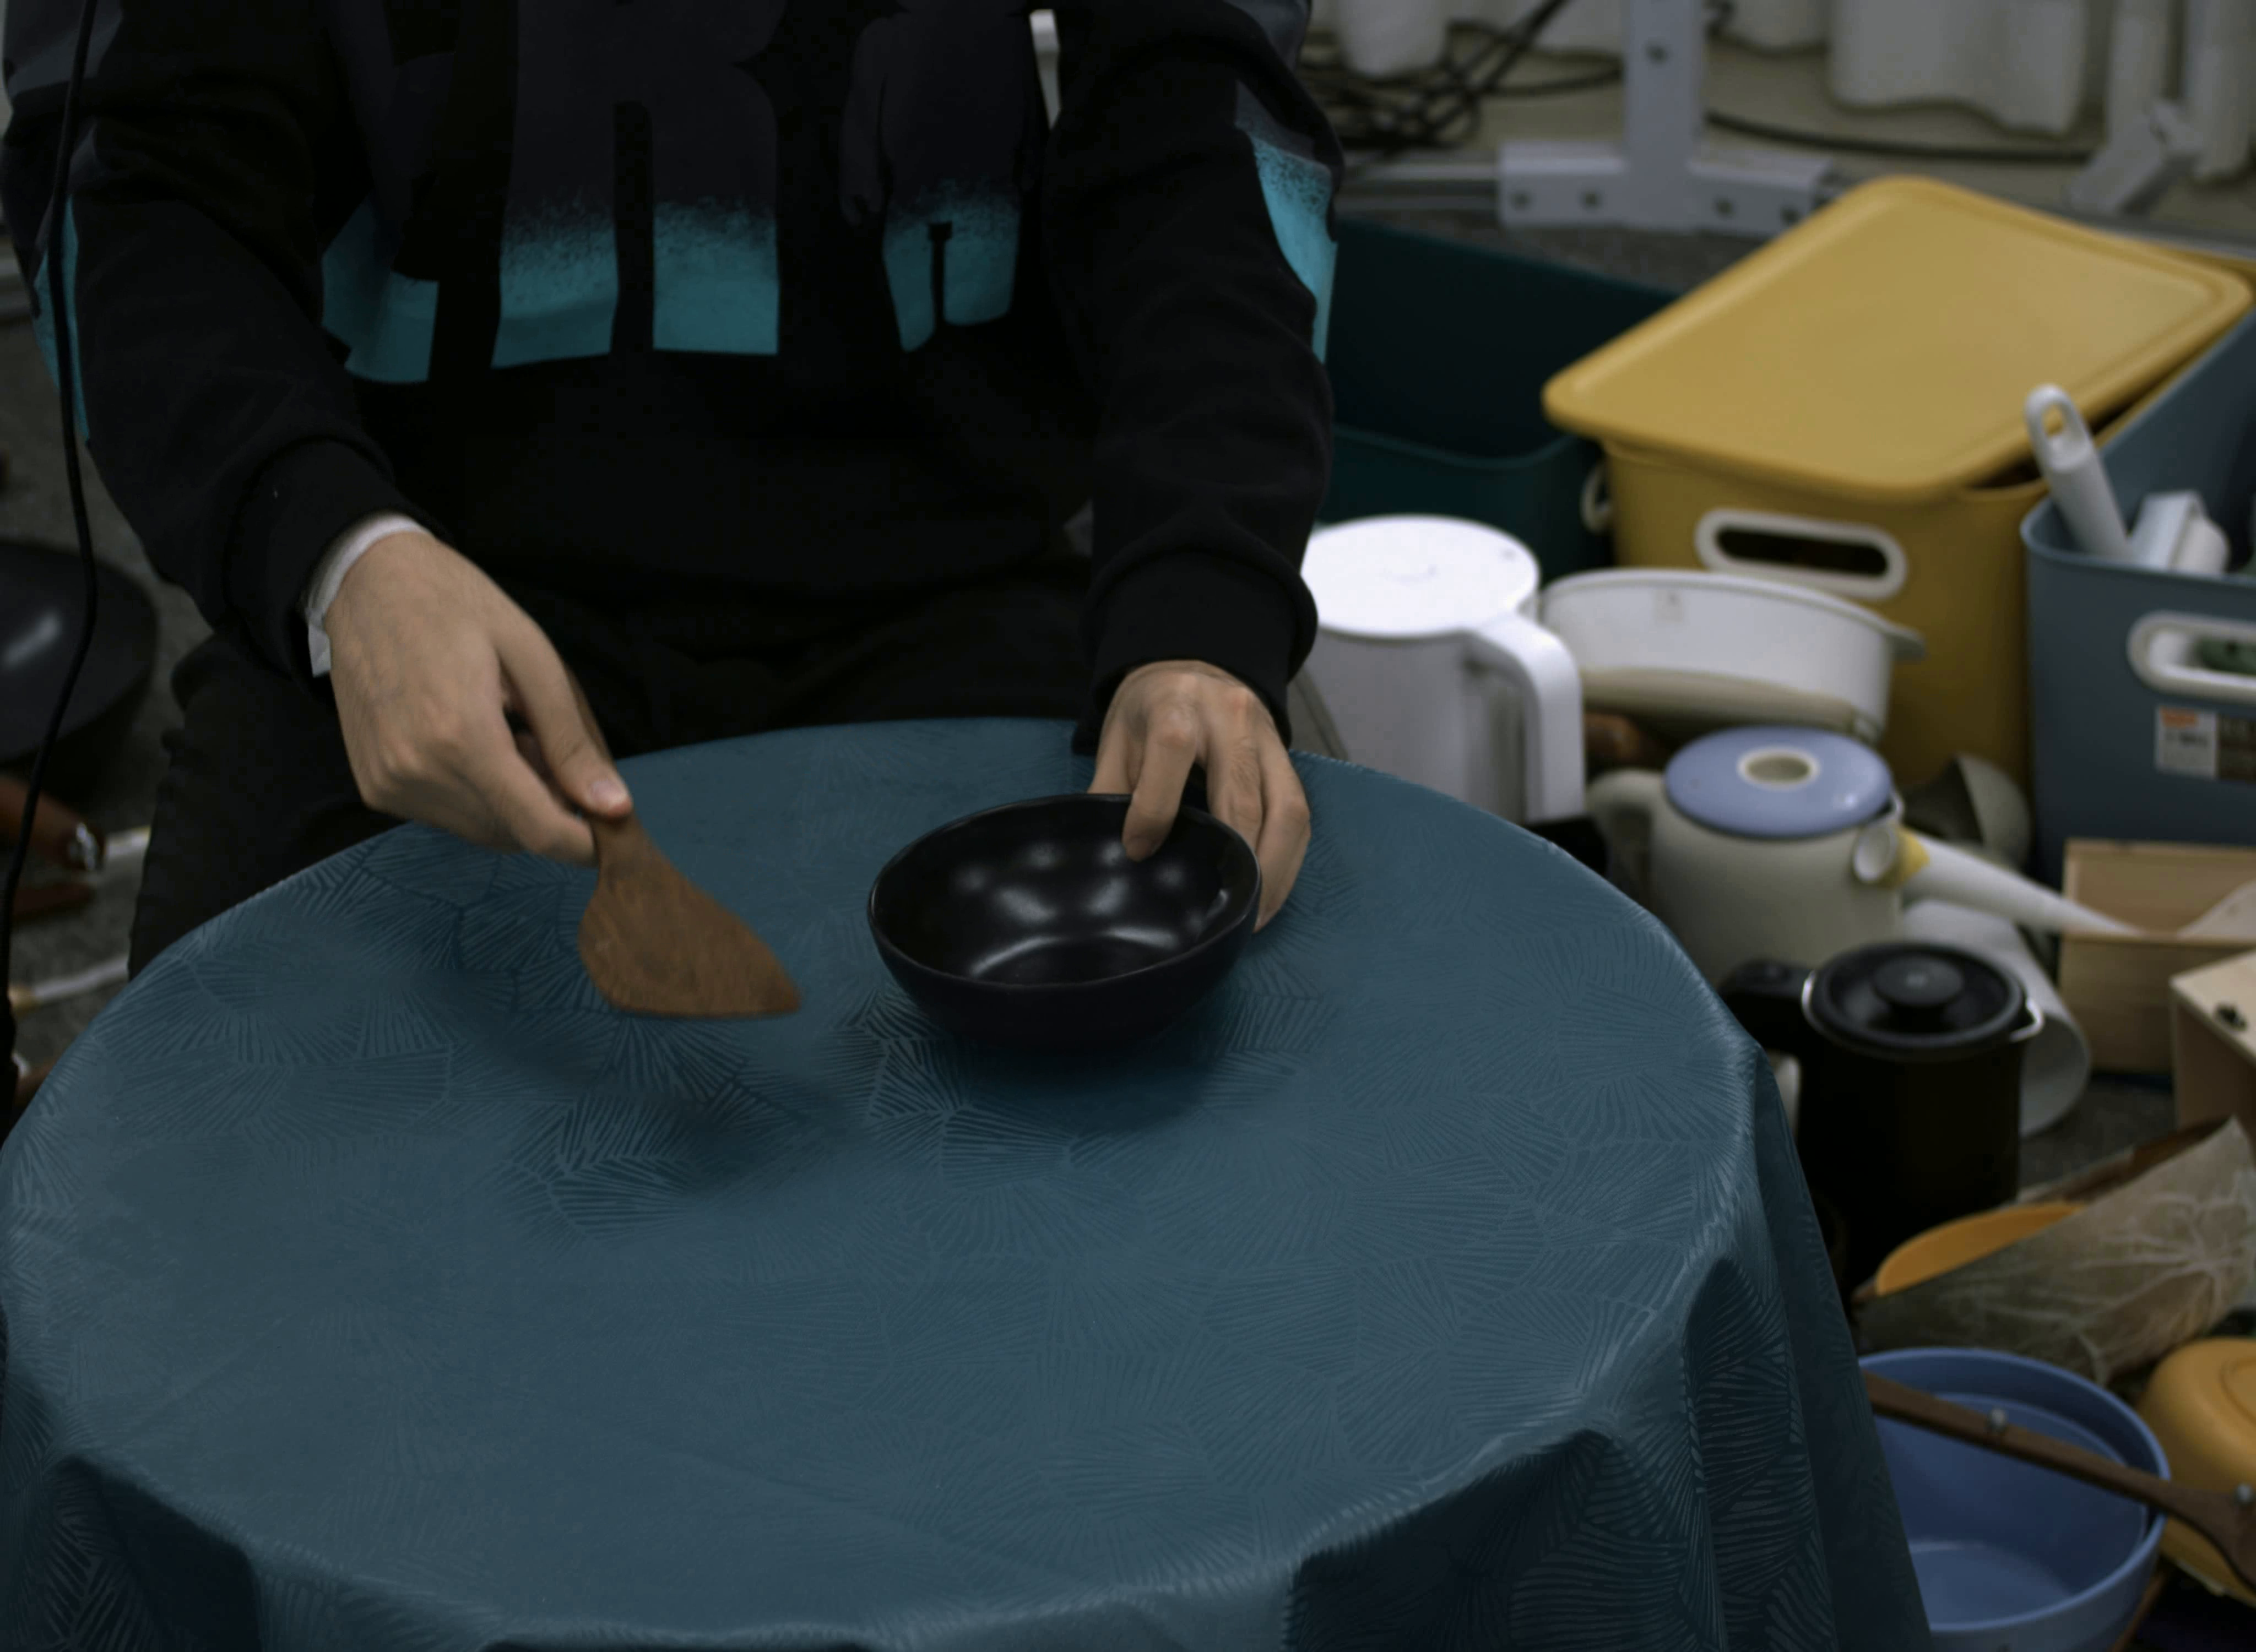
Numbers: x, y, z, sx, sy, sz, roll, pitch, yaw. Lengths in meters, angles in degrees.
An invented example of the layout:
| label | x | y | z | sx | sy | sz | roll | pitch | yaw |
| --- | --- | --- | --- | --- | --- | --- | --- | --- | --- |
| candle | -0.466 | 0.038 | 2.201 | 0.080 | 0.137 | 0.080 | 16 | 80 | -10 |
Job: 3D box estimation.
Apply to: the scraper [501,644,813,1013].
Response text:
| label | x | y | z | sx | sy | sz | roll | pitch | yaw |
| --- | --- | --- | --- | --- | --- | --- | --- | --- | --- |
| scraper | -0.175 | 0.000 | 1.949 | 0.076 | 0.010 | 0.214 | 2 | 36 | -29 |

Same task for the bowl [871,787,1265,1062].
| label | x | y | z | sx | sy | sz | roll | pitch | yaw |
| --- | --- | --- | --- | --- | --- | --- | --- | --- | --- |
| bowl | -0.018 | 0.043 | 1.960 | 0.139 | 0.049 | 0.142 | -6 | 29 | 4 |
